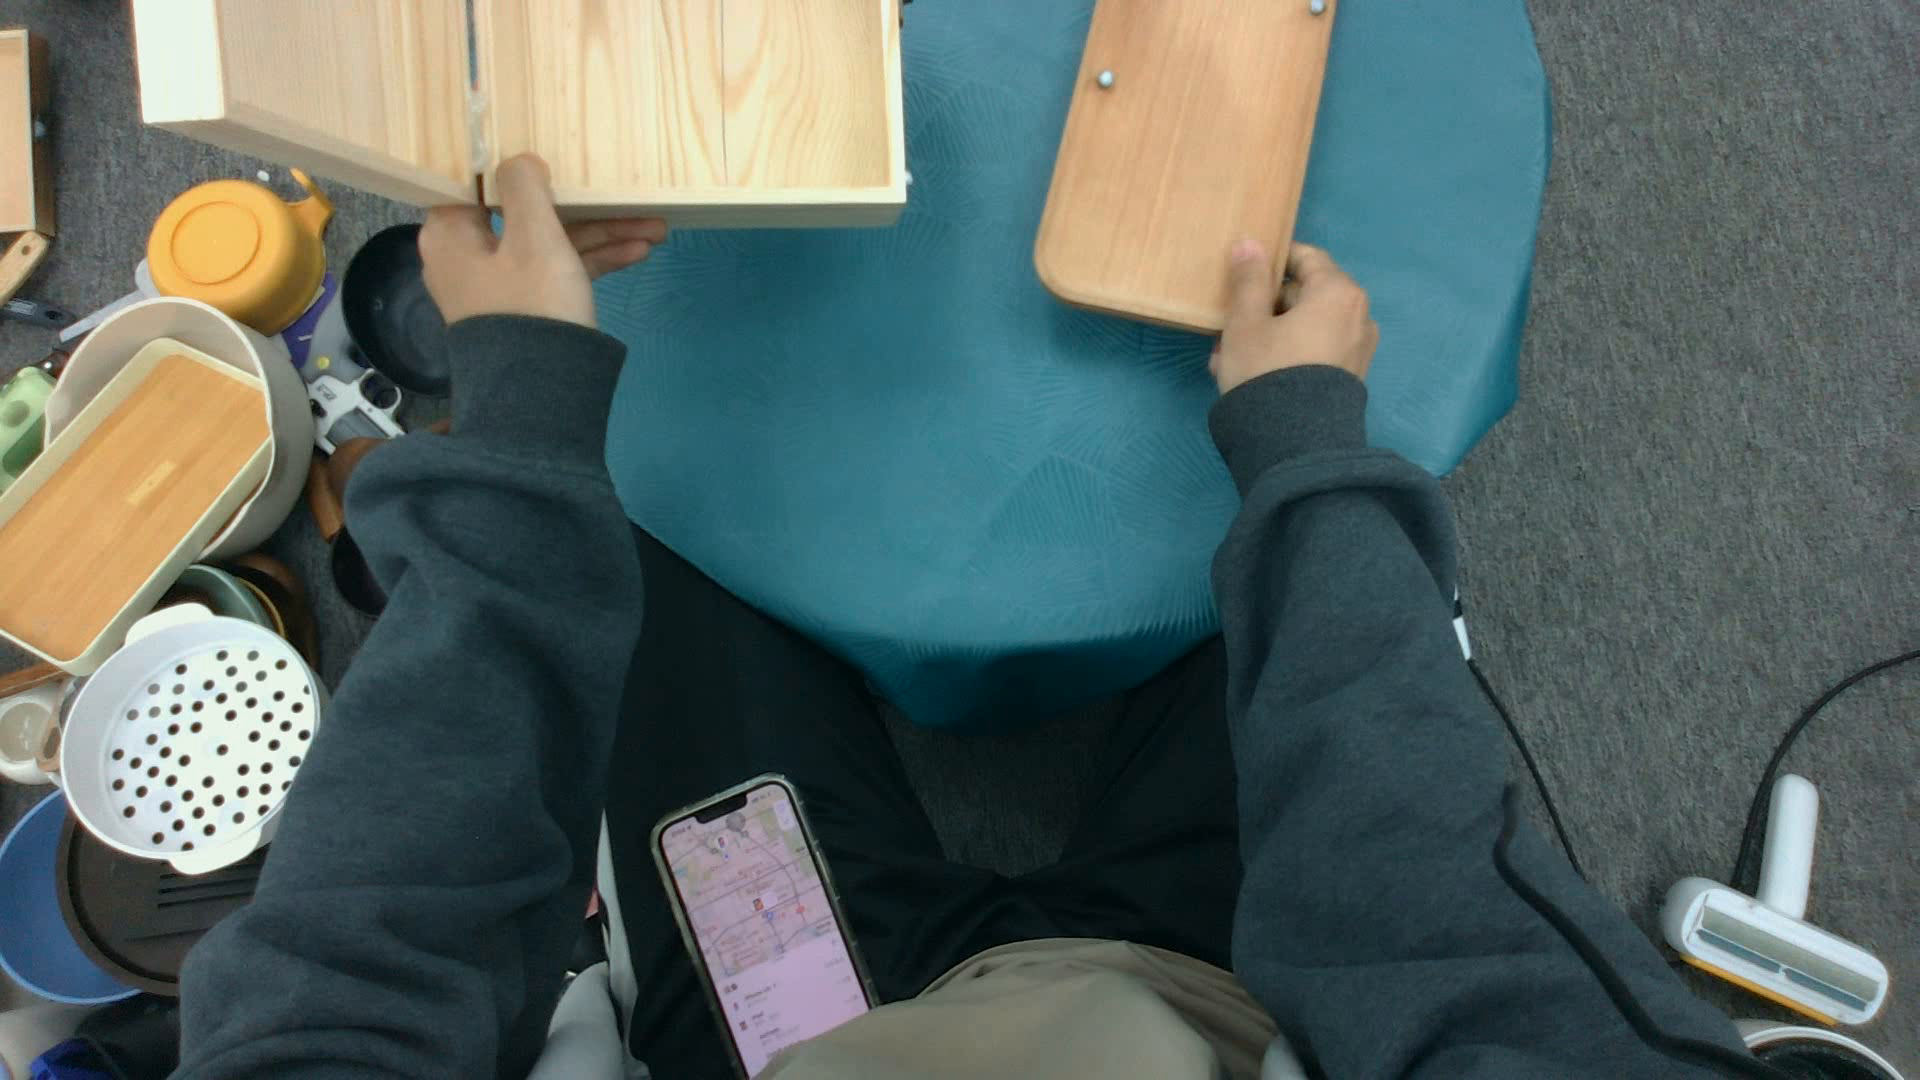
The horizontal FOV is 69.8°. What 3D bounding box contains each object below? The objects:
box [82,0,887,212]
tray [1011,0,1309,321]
[{"bbox_3d":[-0.152,-0.233,0.540,0.265,0.253,0.181,-3,98,-8],"label":"box"},{"bbox_3d":[0.111,-0.232,0.734,0.130,0.023,0.251,12,72,7],"label":"tray"}]
